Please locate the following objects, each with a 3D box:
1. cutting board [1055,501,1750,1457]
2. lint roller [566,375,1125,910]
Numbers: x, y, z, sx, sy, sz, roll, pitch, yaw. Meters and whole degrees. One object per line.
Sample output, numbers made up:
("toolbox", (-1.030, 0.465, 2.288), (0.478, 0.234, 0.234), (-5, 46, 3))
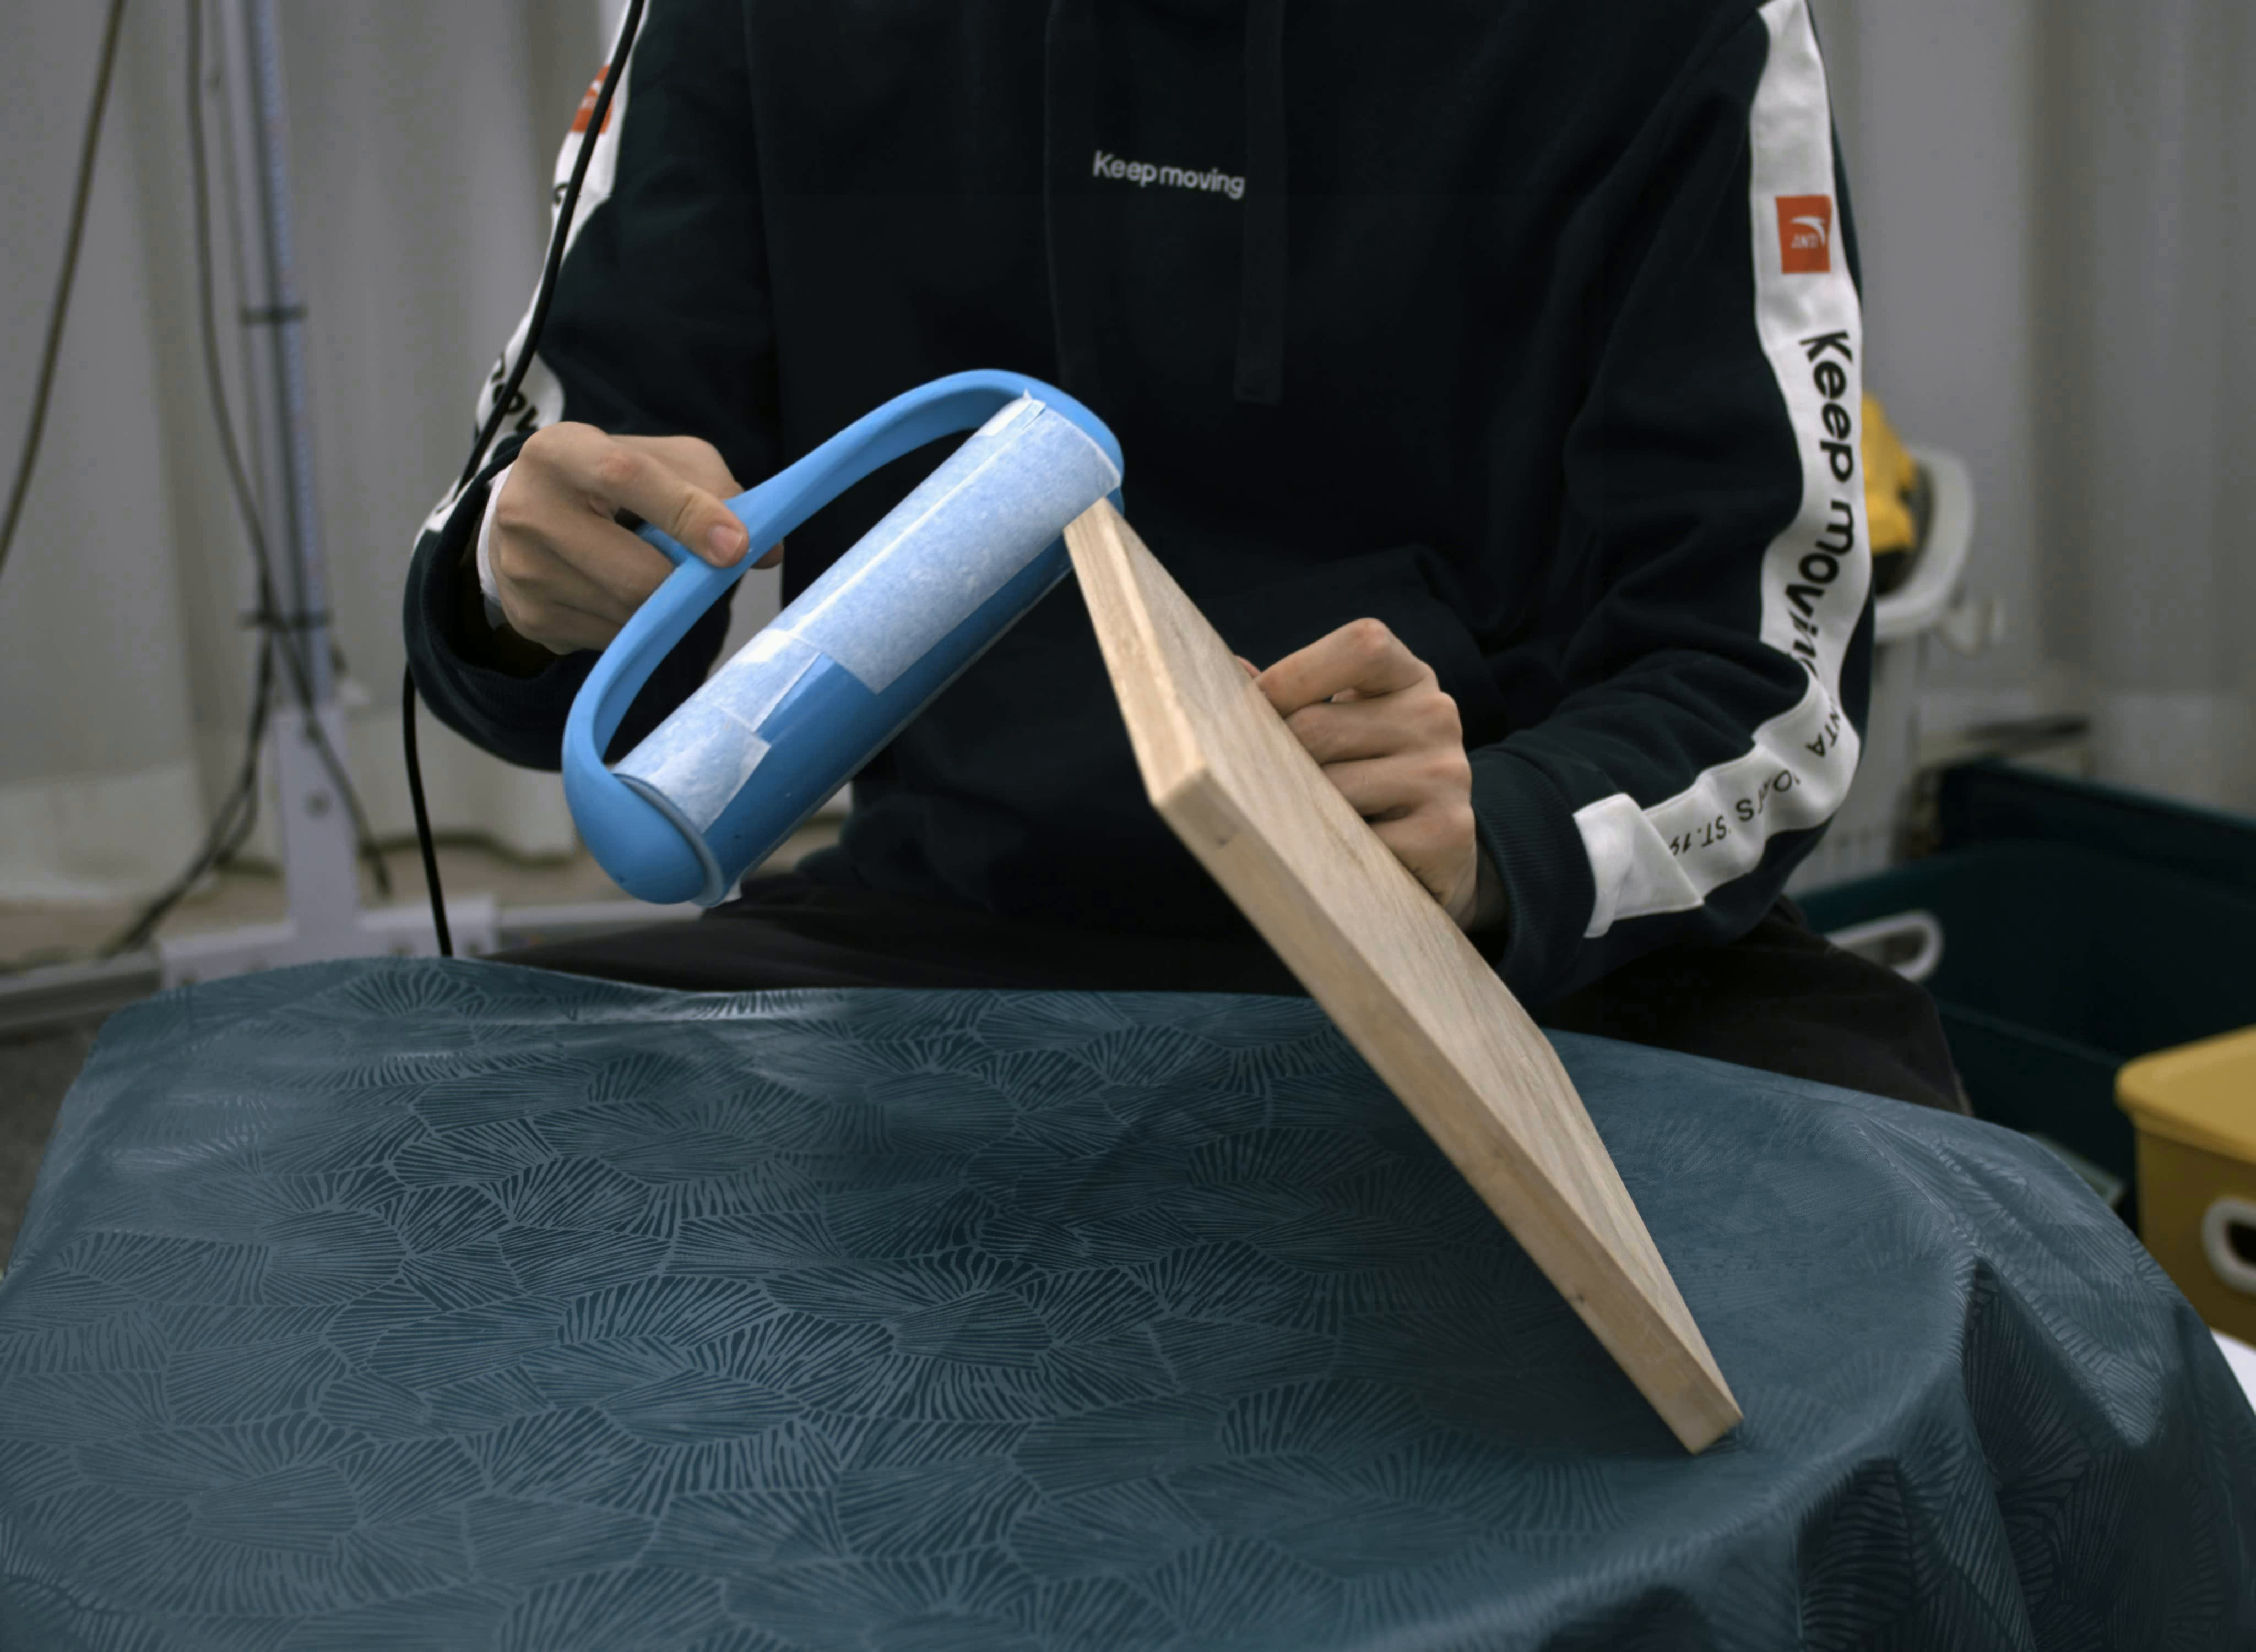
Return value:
("cutting board", (0.071, 0.033, 1.613), (0.023, 0.249, 0.351), (-39, 15, 6))
("lint roller", (-0.126, -0.070, 1.770), (0.181, 0.067, 0.230), (17, 54, 41))
